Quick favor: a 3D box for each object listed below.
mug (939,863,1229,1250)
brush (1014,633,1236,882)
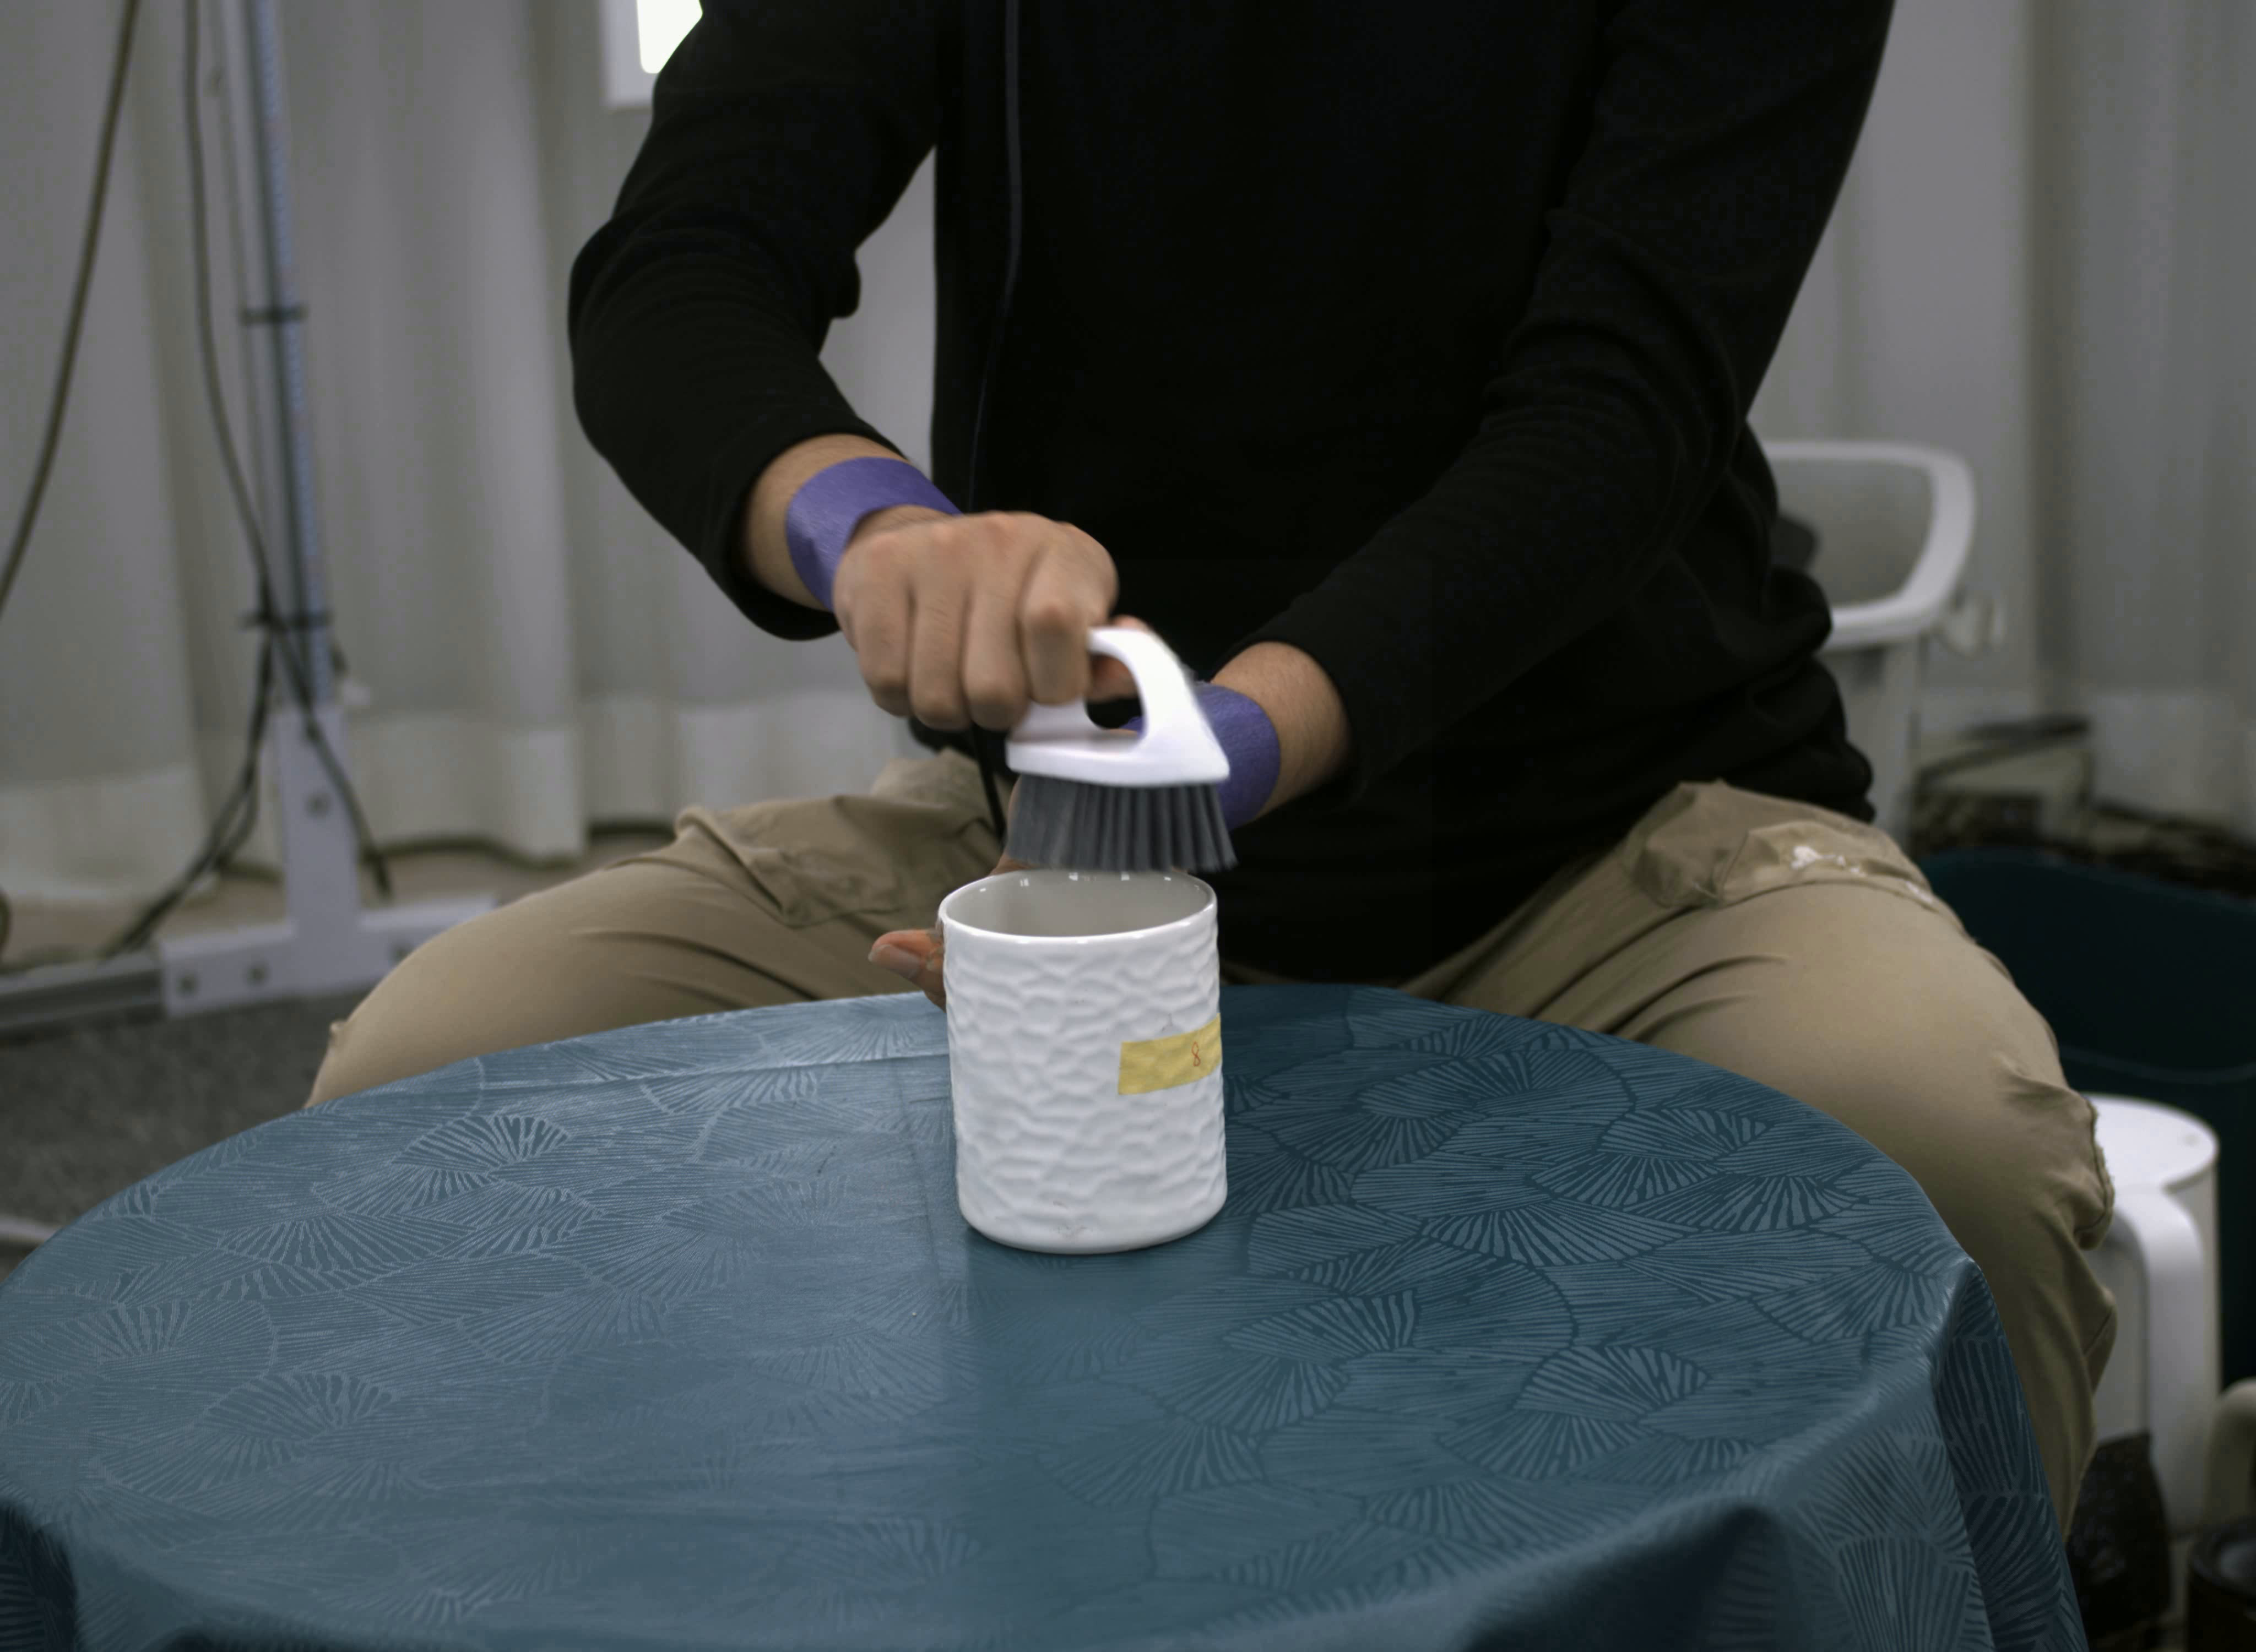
[{"bbox_3d":[-0.020,0.067,1.698,0.084,0.101,0.119,-10,16,-24],"label":"mug"},{"bbox_3d":[-0.002,-0.023,1.684,0.050,0.072,0.099,-2,6,-25],"label":"brush"}]
